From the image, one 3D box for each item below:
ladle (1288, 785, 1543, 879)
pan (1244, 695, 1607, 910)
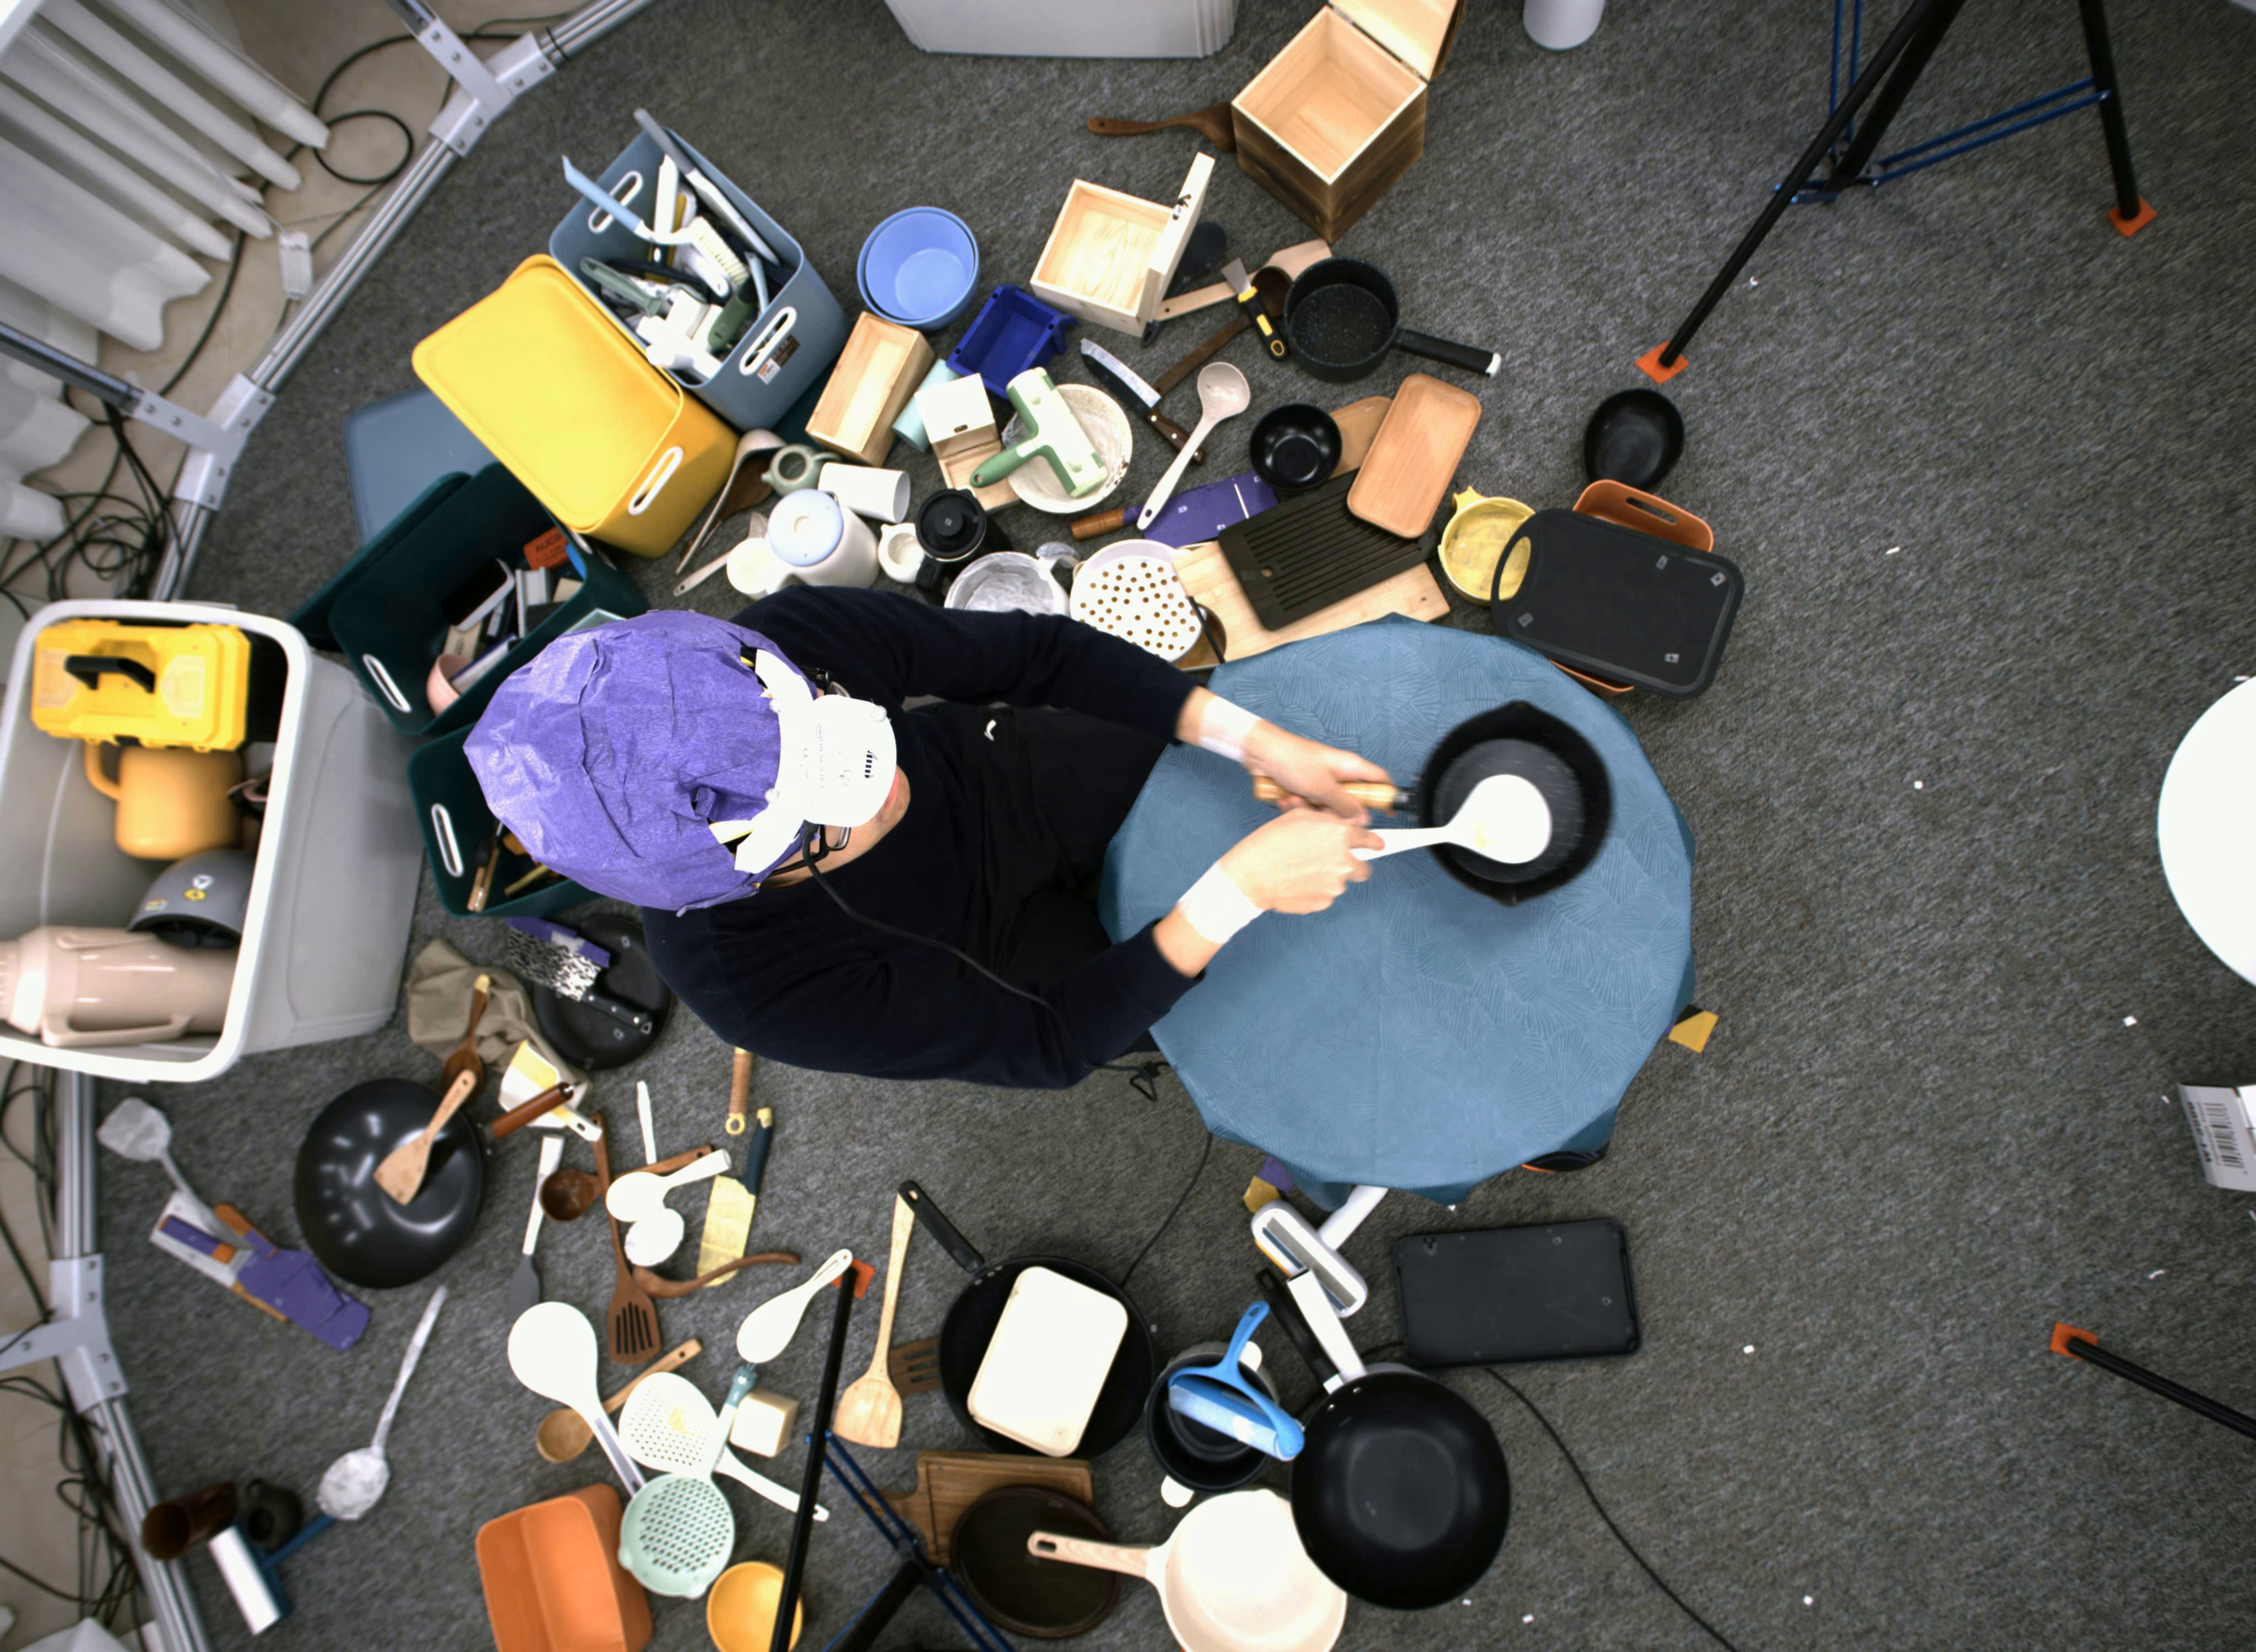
[{"bbox_3d":[0.276,0.013,1.291,0.071,0.290,0.090,-16,83,52],"label":"ladle"},{"bbox_3d":[0.288,-0.026,1.353,0.344,0.108,0.207,3,89,11],"label":"pan"}]
